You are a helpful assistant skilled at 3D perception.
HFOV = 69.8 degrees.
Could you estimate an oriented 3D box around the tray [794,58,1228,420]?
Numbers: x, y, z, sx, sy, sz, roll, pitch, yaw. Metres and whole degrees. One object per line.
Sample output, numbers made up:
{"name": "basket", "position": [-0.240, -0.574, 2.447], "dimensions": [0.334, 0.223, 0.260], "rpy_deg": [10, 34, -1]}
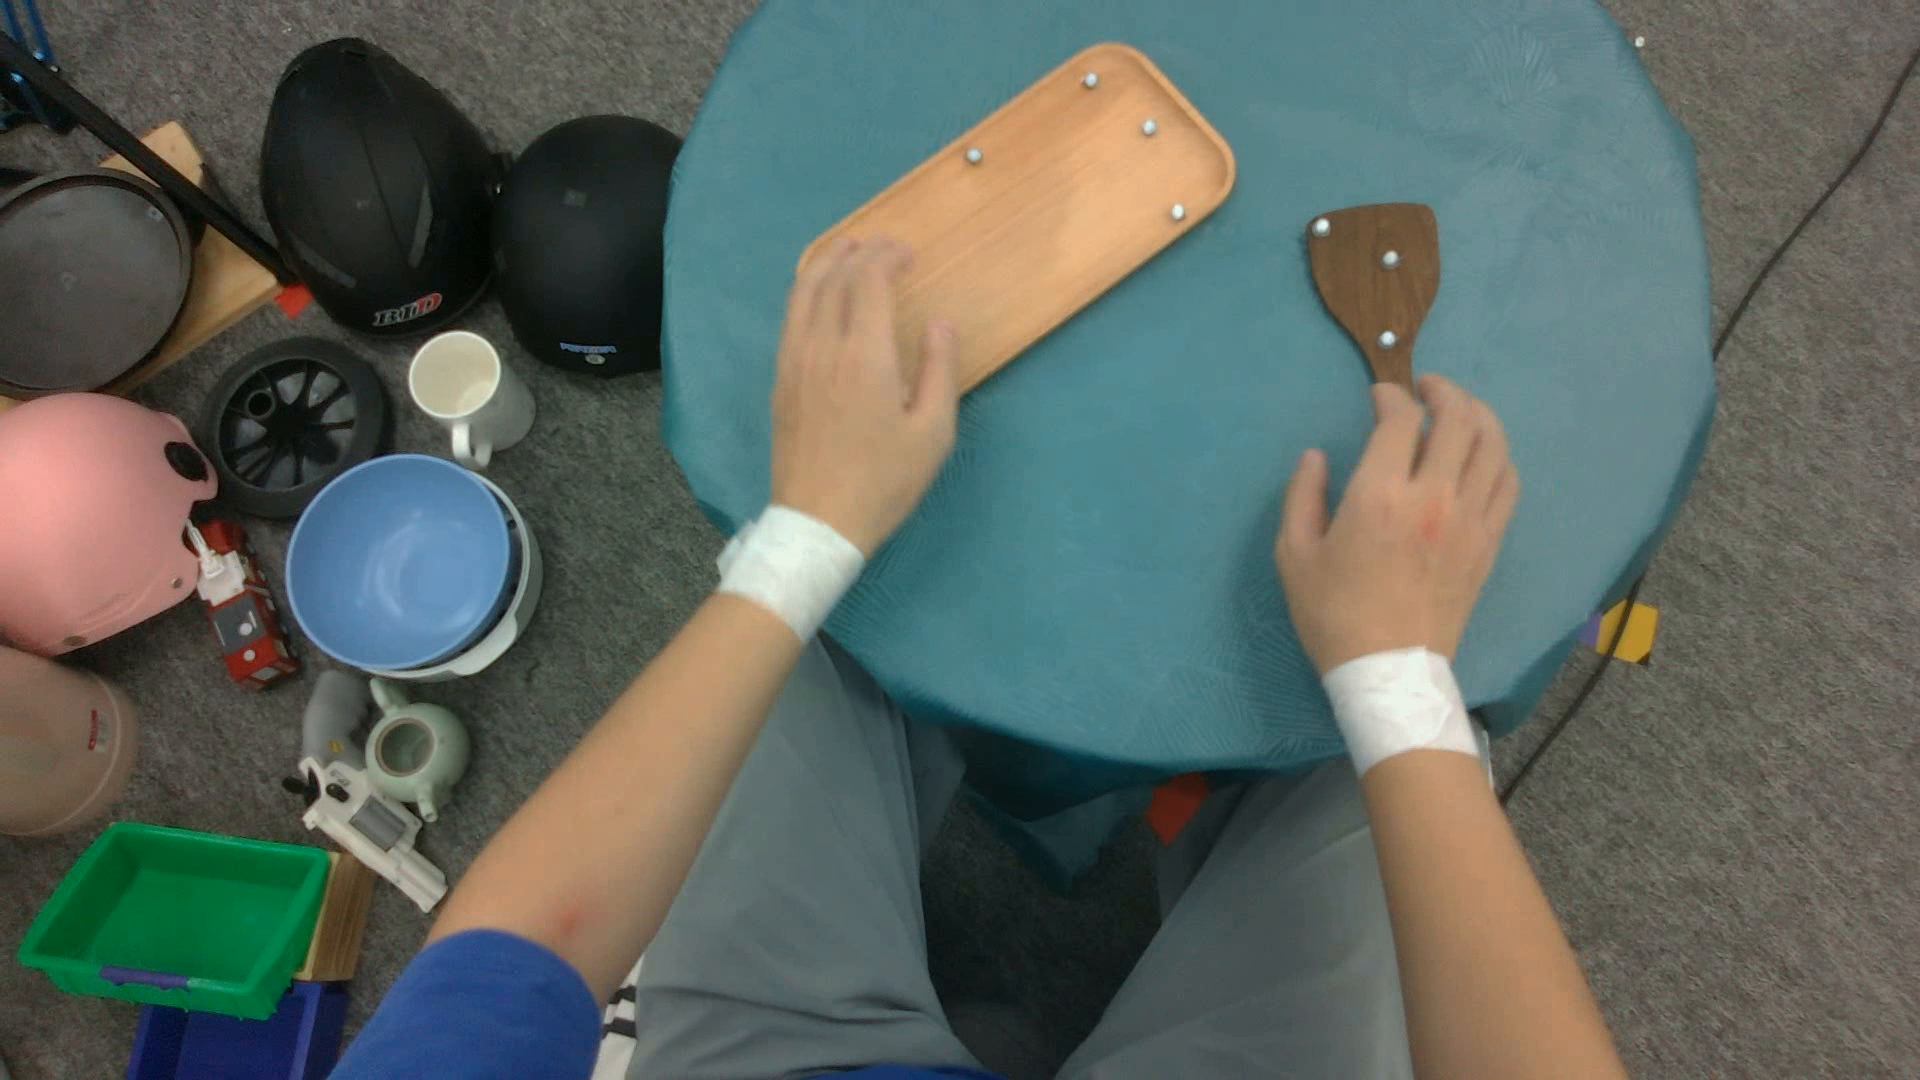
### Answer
{"name": "tray", "position": [0.031, -0.178, 0.805], "dimensions": [0.251, 0.023, 0.130], "rpy_deg": [-36, 73, -8]}

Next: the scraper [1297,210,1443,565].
{"name": "scraper", "position": [0.241, -0.088, 0.775], "dimensions": [0.076, 0.011, 0.212], "rpy_deg": [-5, 74, 2]}
